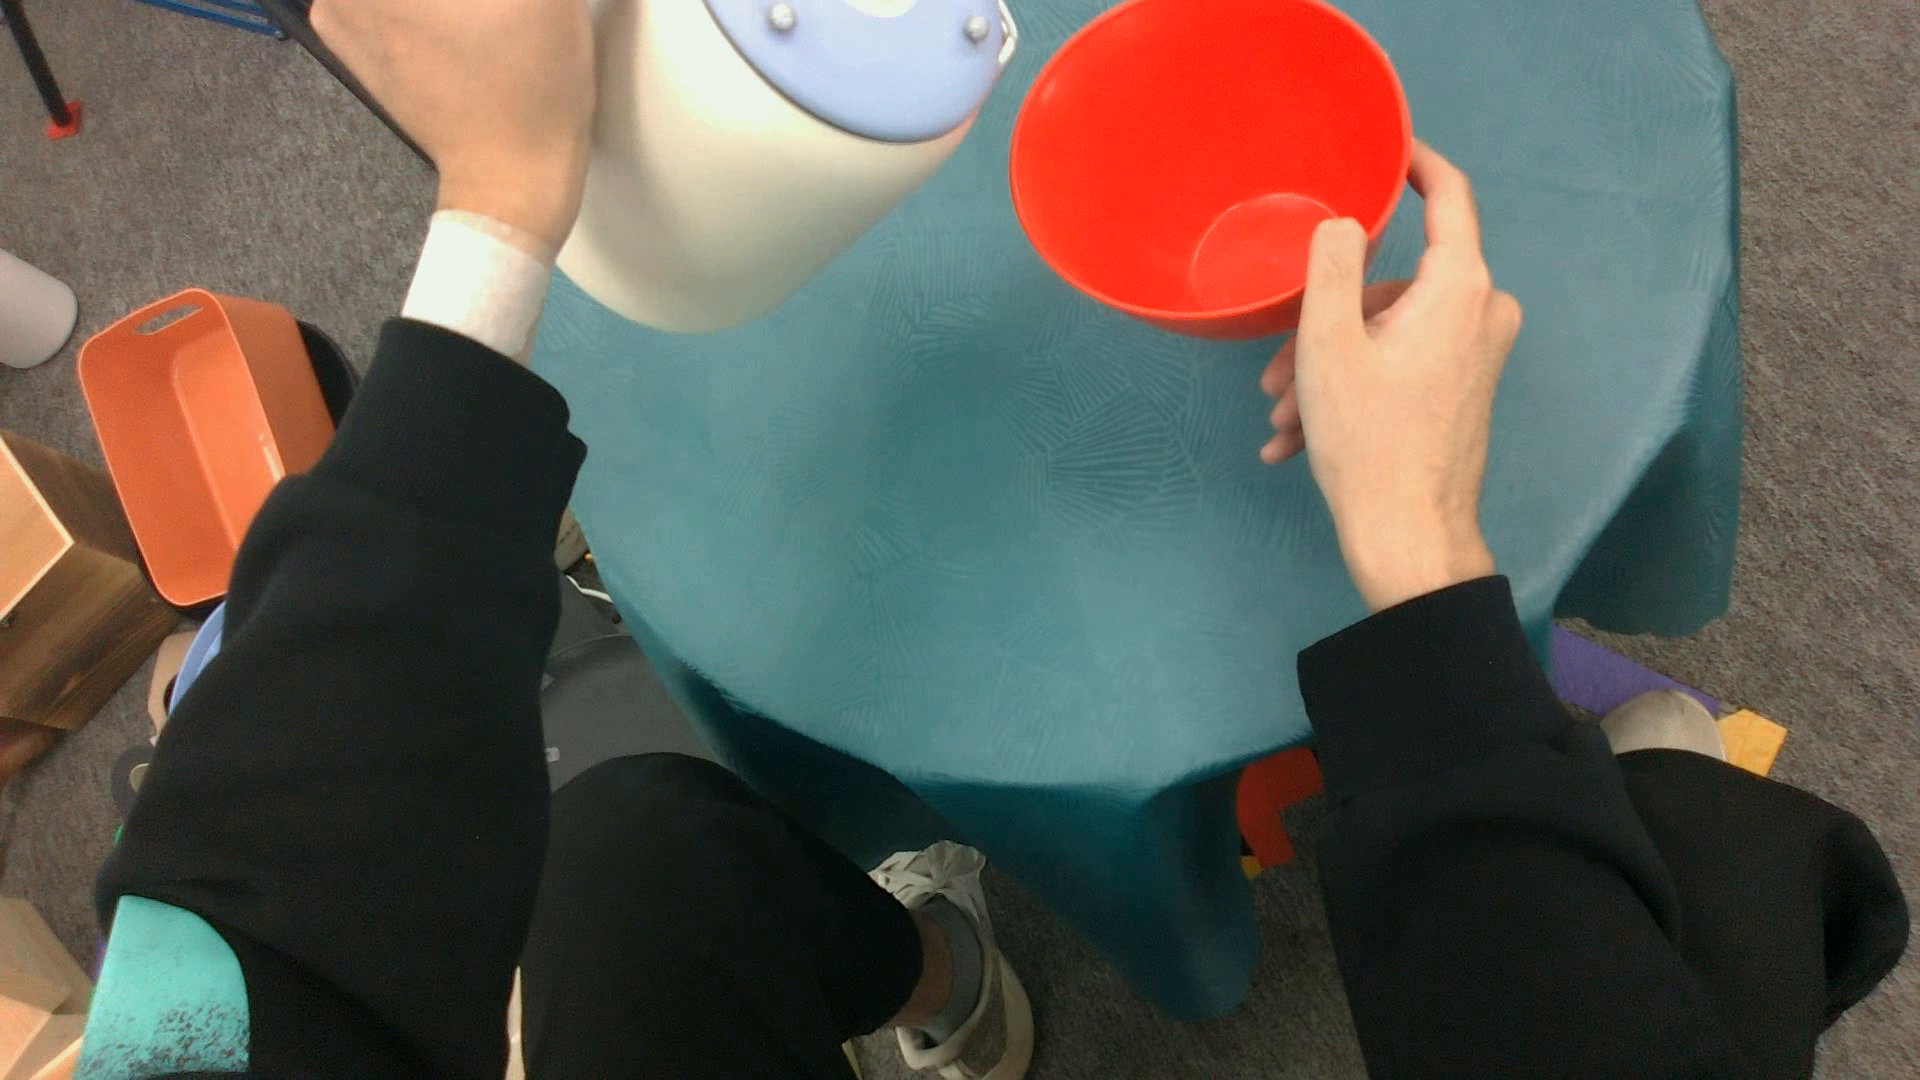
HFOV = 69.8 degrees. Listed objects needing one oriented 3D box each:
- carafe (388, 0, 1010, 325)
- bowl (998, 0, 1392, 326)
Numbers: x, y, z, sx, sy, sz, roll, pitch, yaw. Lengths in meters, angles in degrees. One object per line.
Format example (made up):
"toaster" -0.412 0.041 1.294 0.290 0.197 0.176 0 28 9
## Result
"carafe" -0.104 -0.172 0.506 0.181 0.191 0.132 -26 65 53
"bowl" 0.102 -0.143 0.562 0.147 0.104 0.148 -8 67 20
